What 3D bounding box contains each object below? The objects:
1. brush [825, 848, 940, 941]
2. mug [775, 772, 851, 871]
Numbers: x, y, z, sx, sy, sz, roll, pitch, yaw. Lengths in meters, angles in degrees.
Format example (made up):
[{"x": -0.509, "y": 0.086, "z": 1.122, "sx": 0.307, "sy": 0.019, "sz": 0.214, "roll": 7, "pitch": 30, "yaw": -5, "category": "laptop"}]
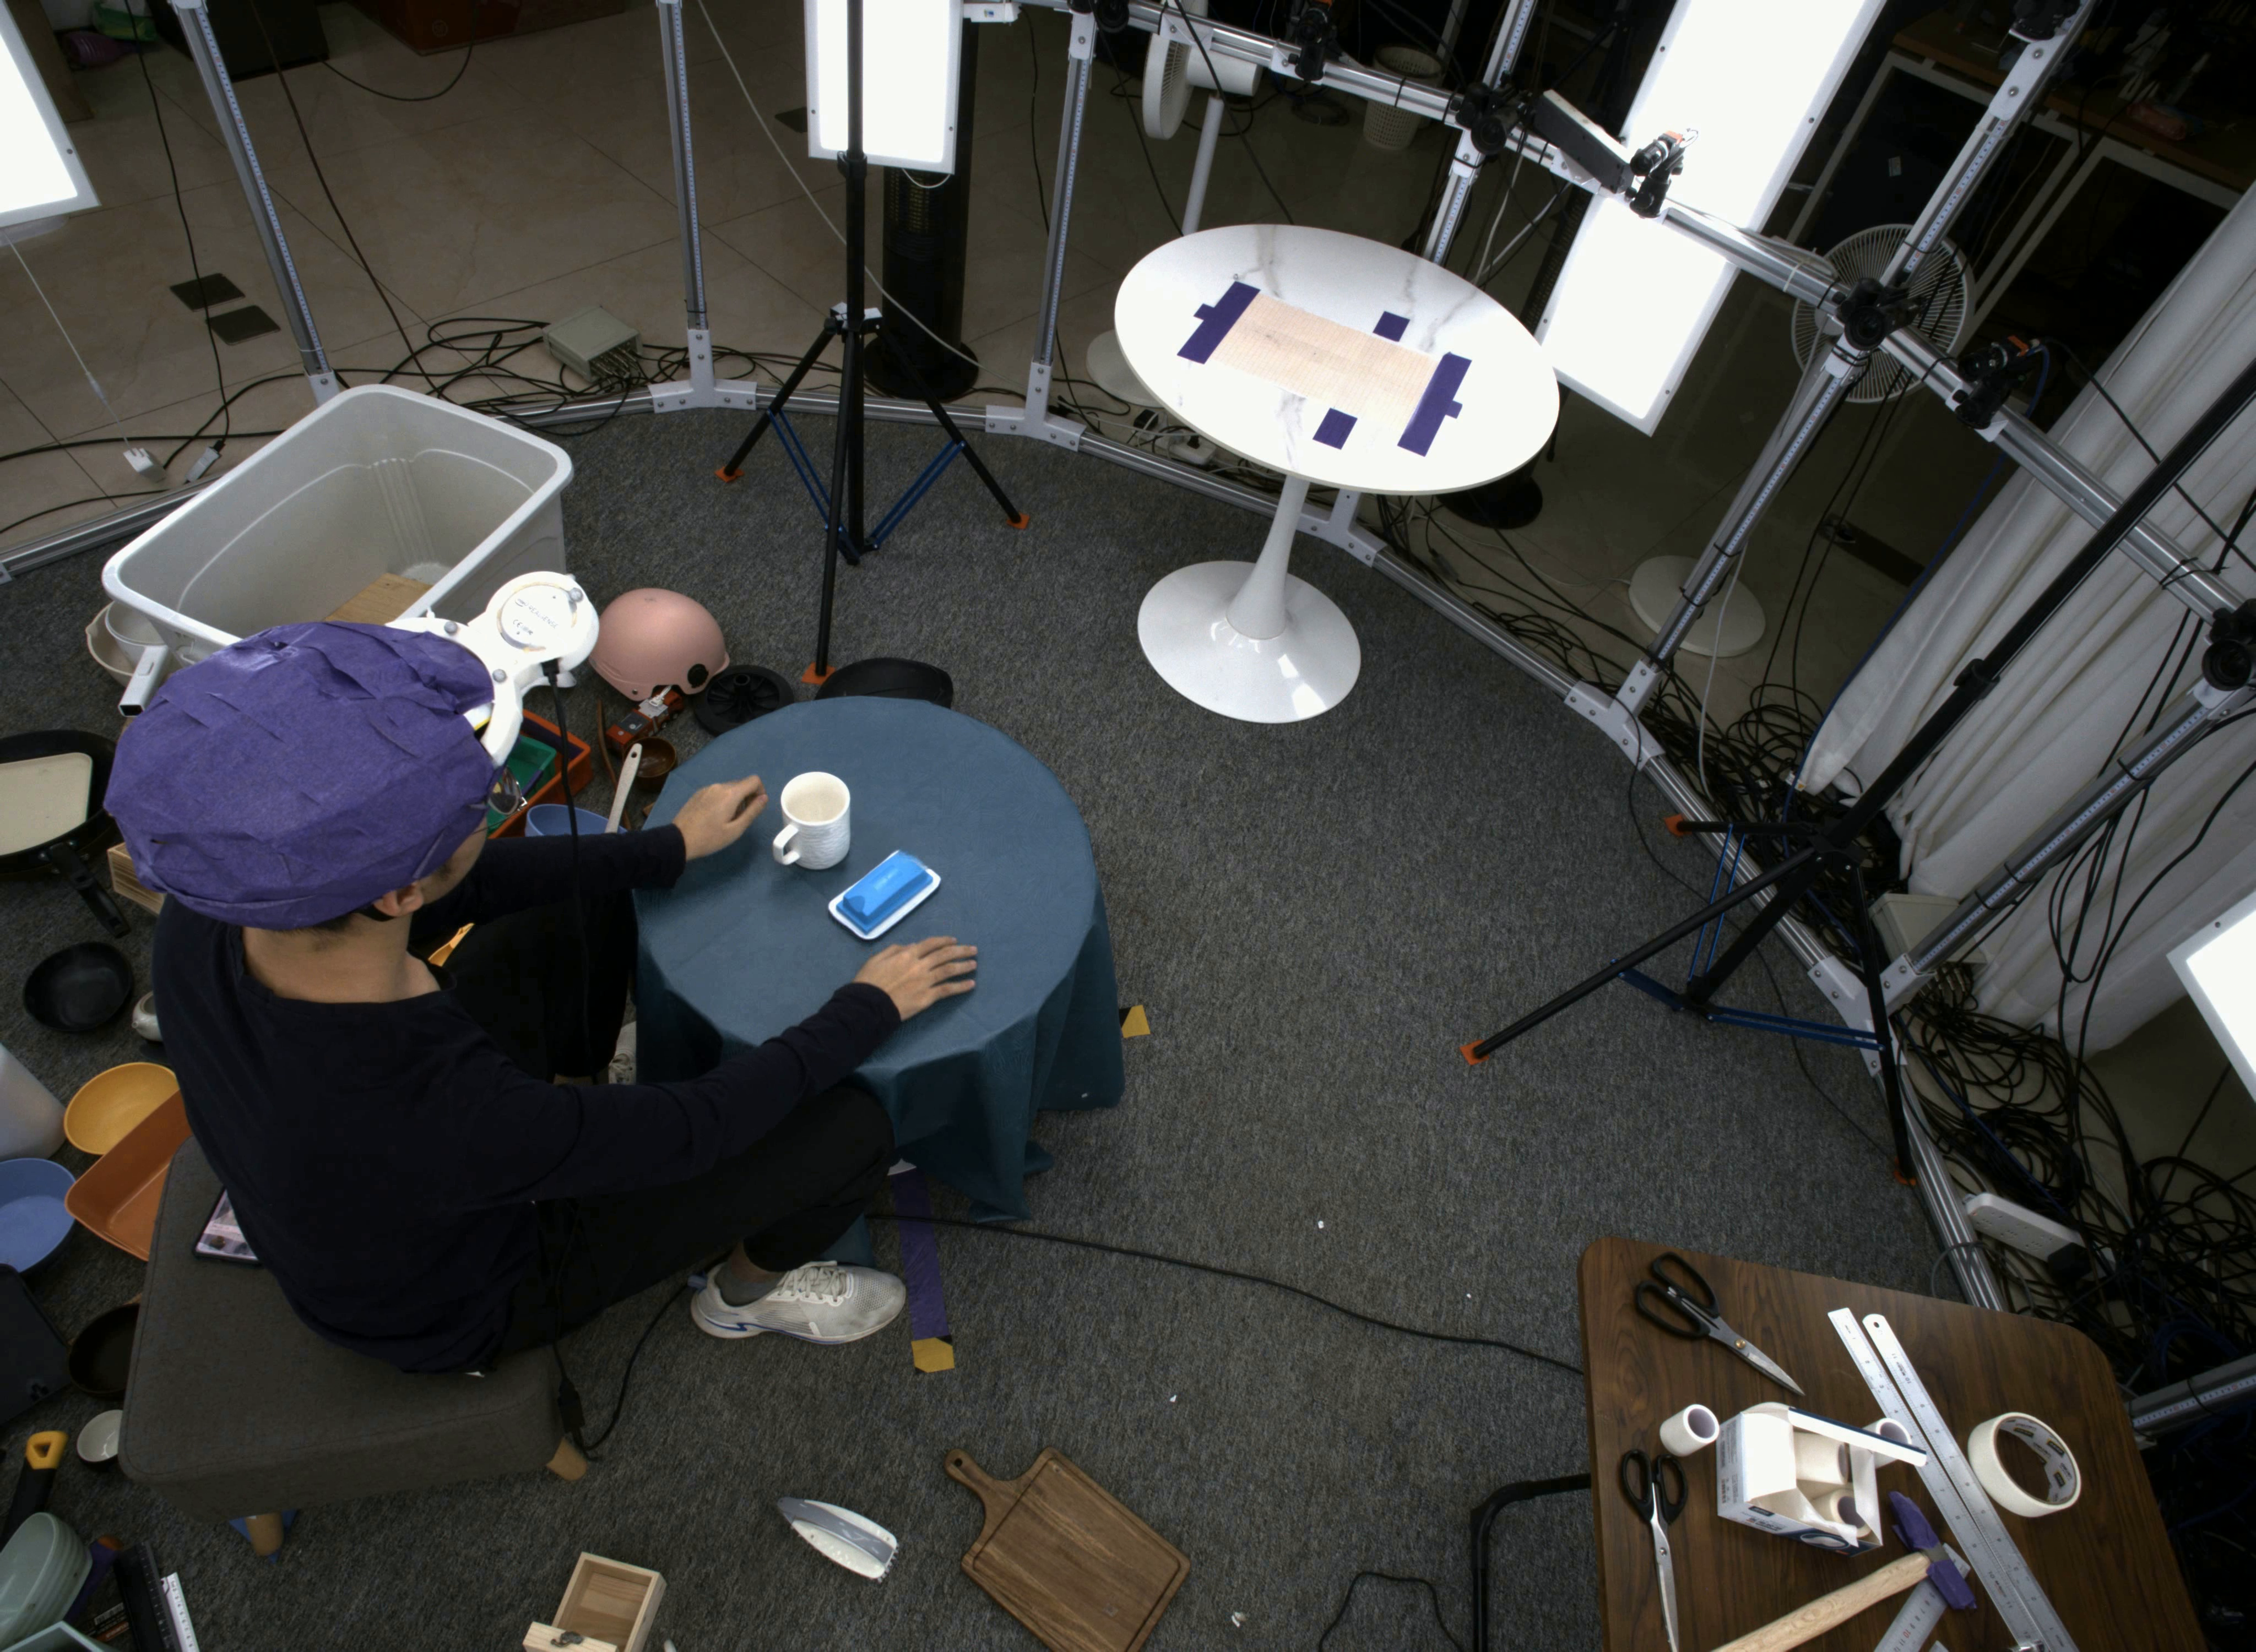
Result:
[{"x": -0.312, "y": 0.078, "z": 1.656, "sx": 0.082, "sy": 0.057, "sz": 0.144, "roll": 37, "pitch": 52, "yaw": 19, "category": "brush"}, {"x": -0.409, "y": 0.005, "z": 1.661, "sx": 0.083, "sy": 0.104, "sz": 0.118, "roll": 29, "pitch": 53, "yaw": 10, "category": "mug"}]
